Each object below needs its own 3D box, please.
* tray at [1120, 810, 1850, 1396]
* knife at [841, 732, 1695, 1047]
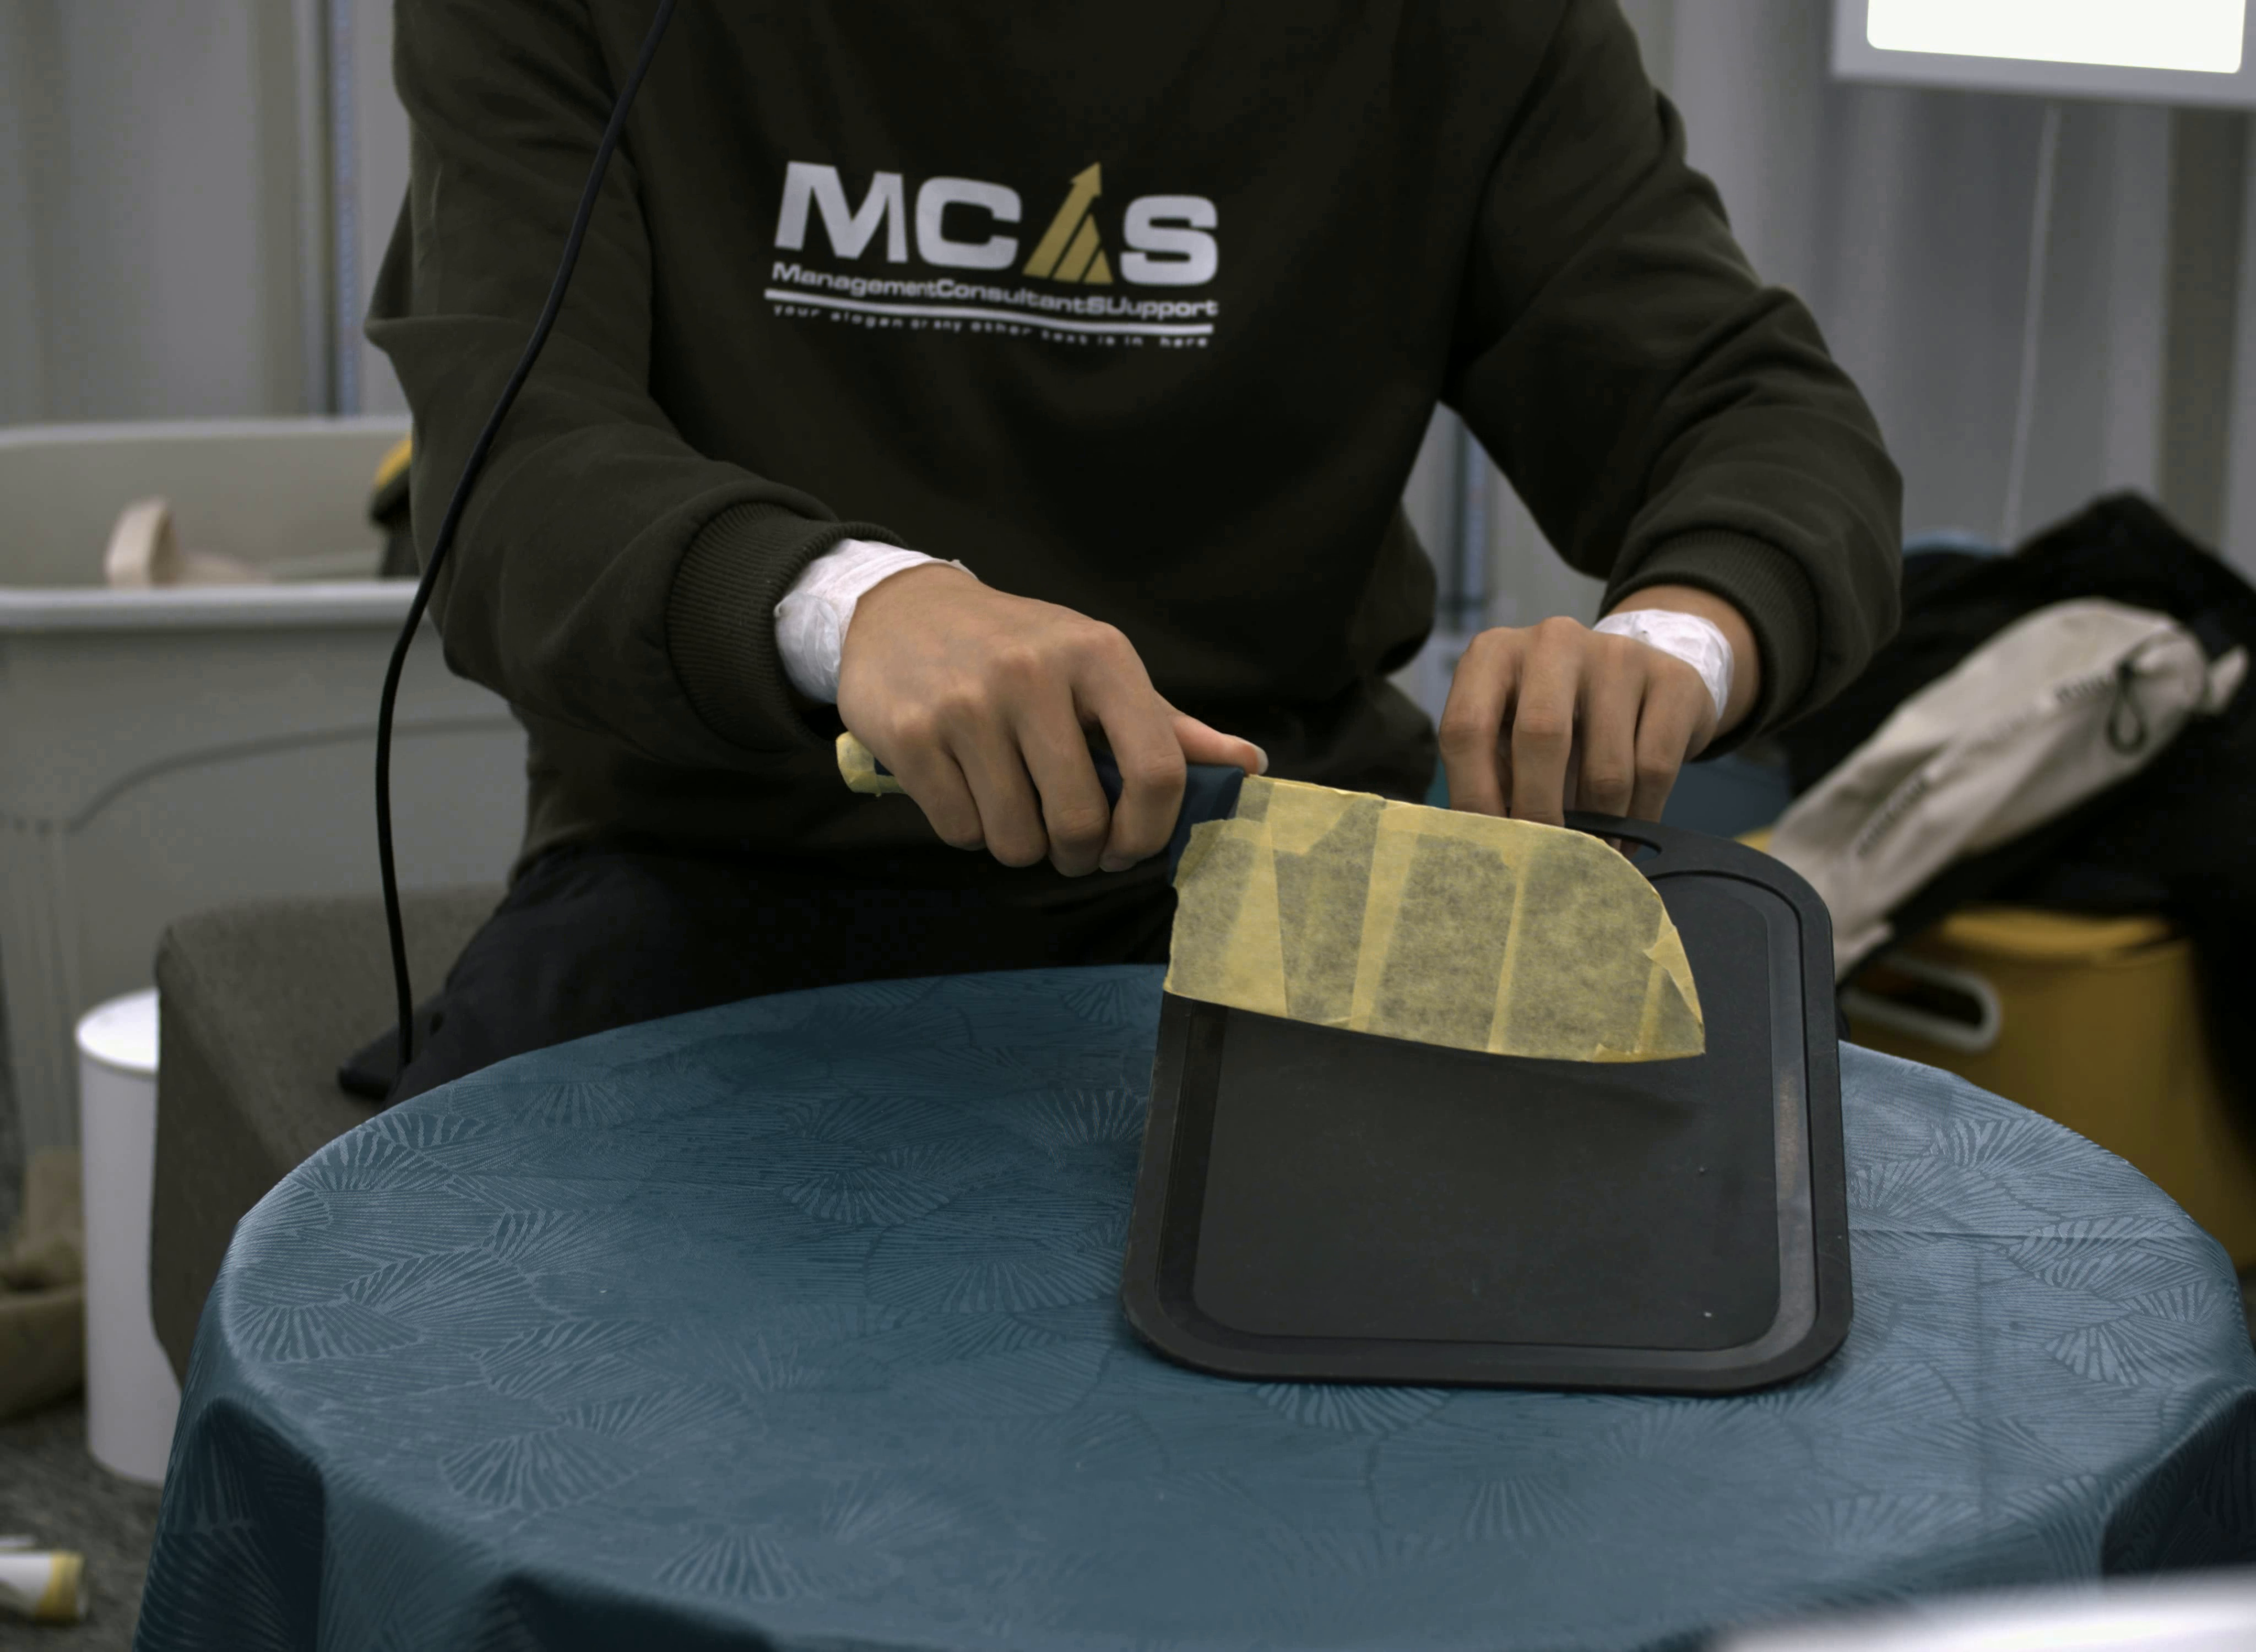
[{"bbox_3d":[0.111,0.074,1.603,0.210,0.010,0.323,2,30,4],"label":"tray"},{"bbox_3d":[0.040,0.018,1.636,0.286,0.081,0.027,13,-2,19],"label":"knife"}]
